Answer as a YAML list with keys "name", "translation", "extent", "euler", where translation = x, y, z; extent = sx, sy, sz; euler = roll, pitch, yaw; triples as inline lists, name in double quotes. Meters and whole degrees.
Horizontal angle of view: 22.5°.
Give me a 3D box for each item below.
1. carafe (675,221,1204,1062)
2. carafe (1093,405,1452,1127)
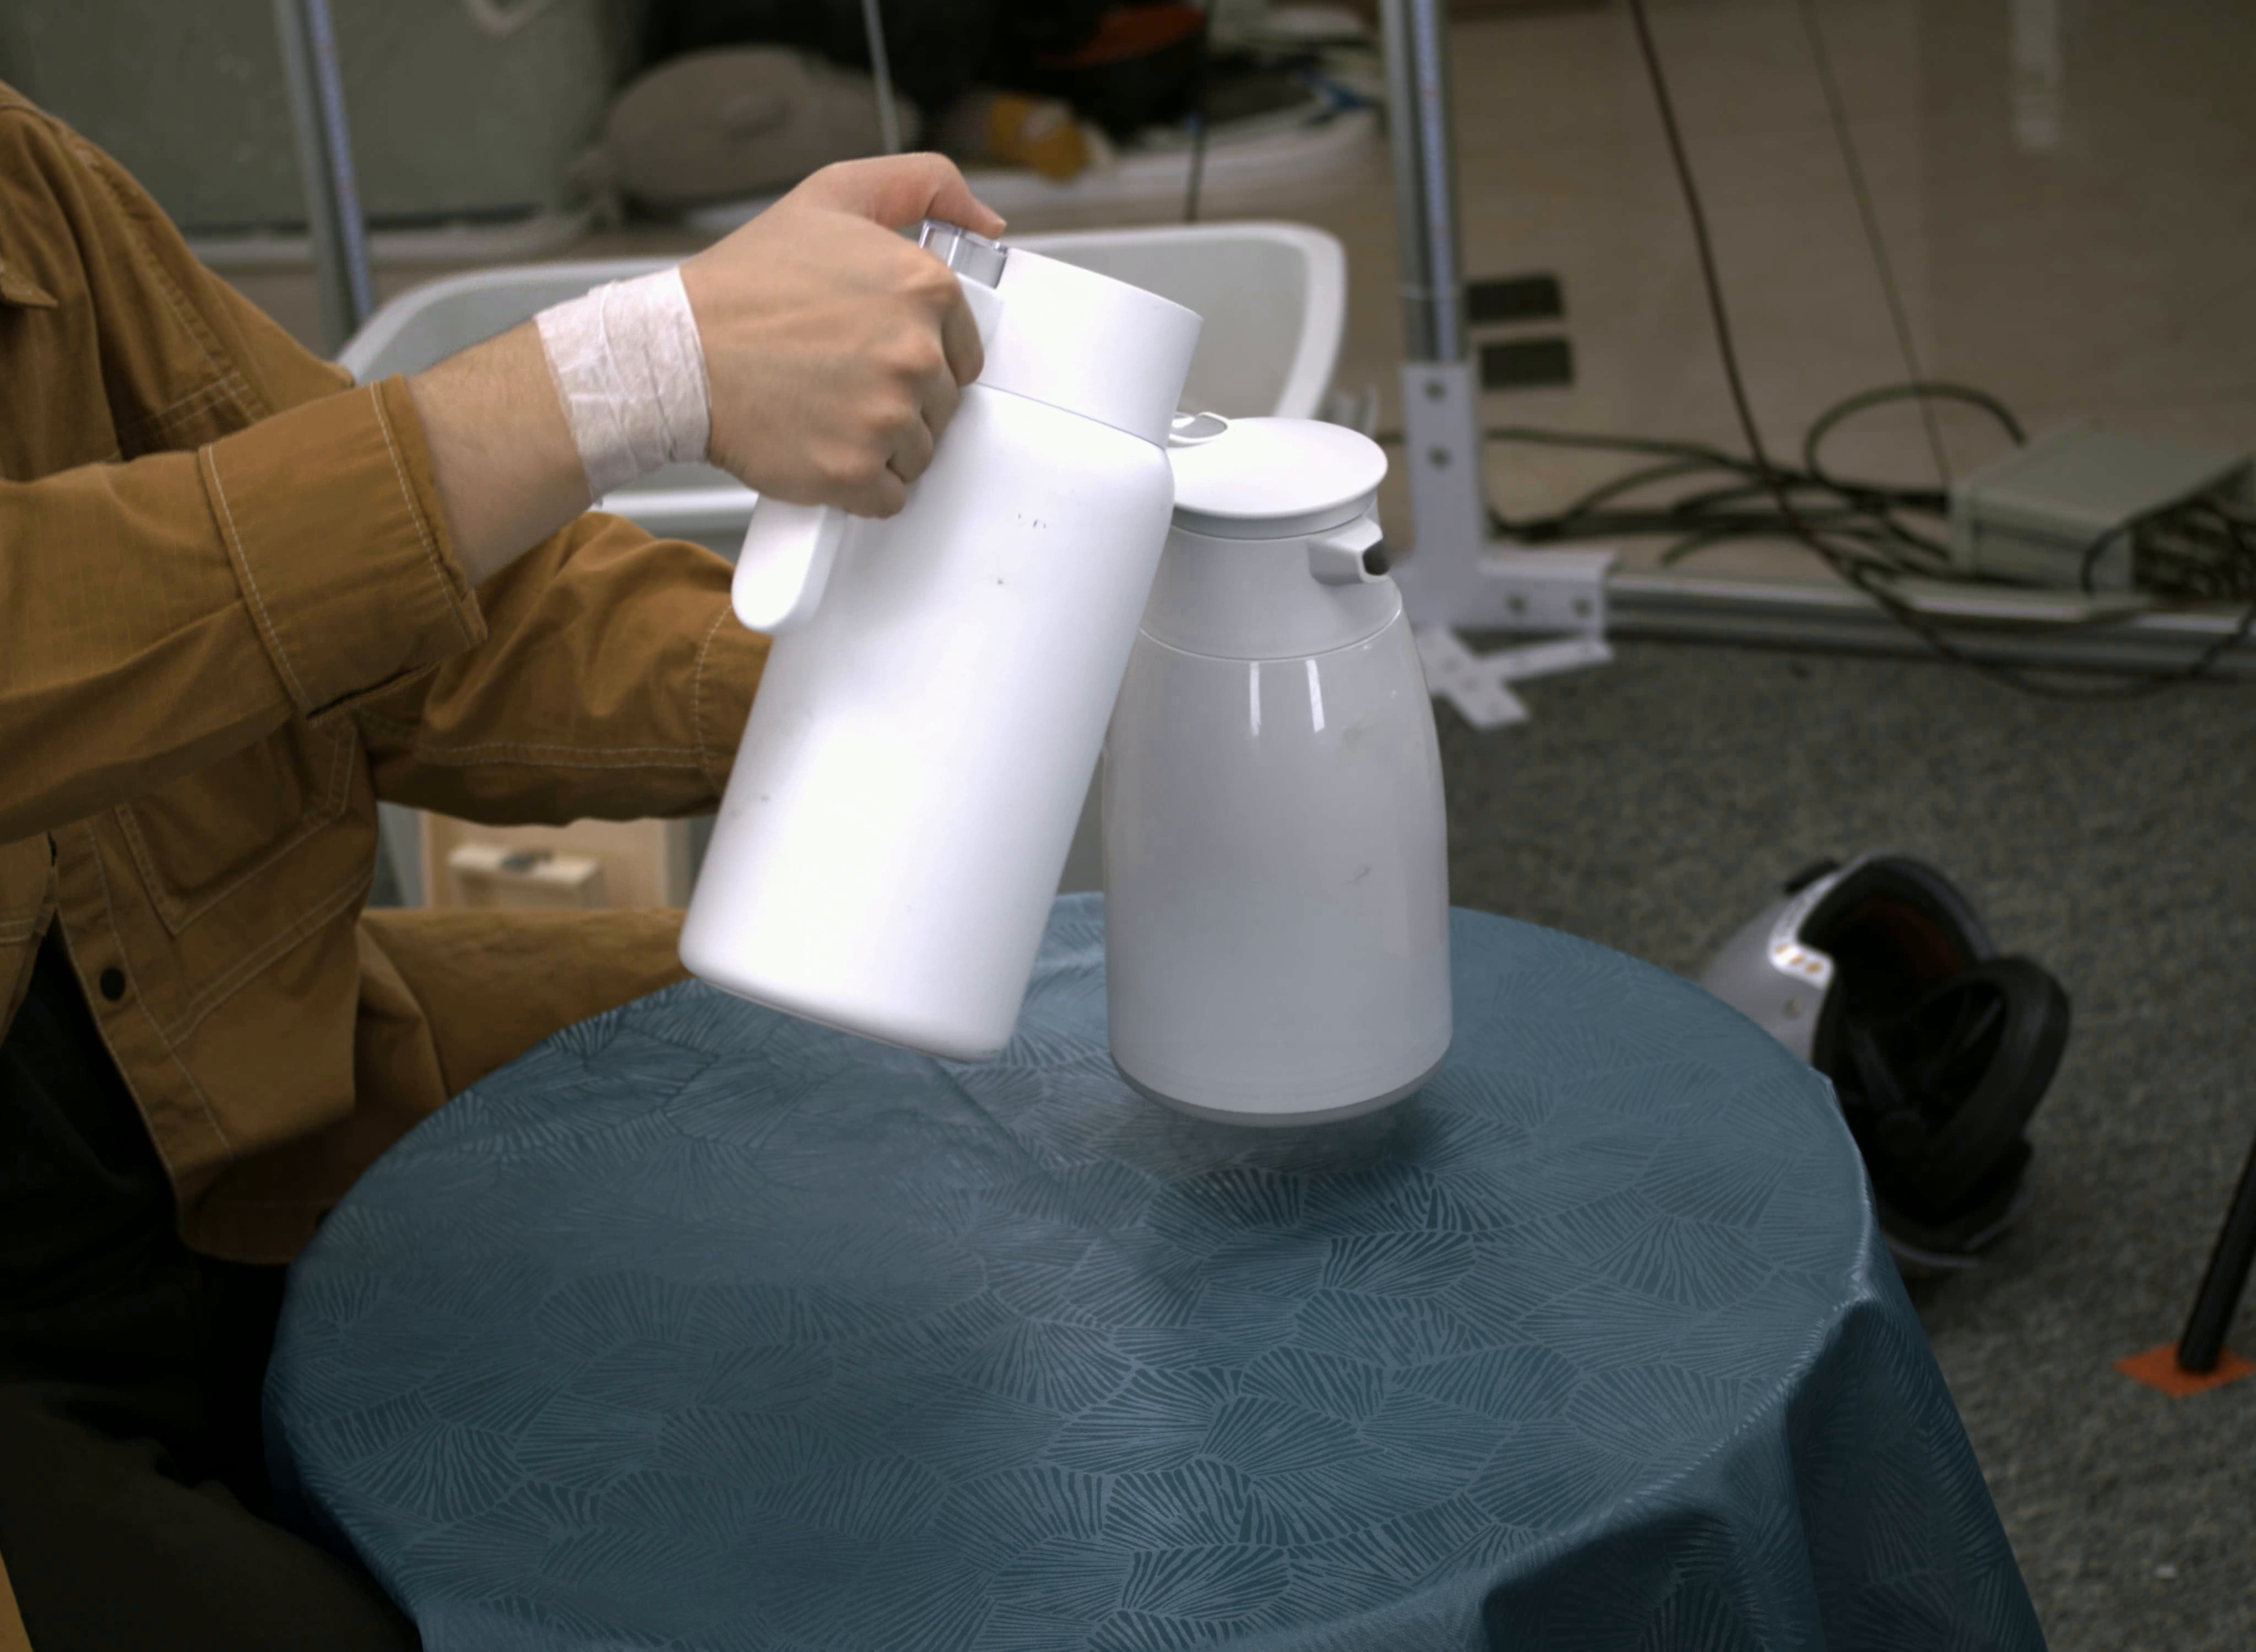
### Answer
- name: "carafe"
  translation: [-0.069, -0.064, 1.902]
  extent: [0.123, 0.269, 0.174]
  euler: [21, 2, 34]
- name: "carafe"
  translation: [0.039, -0.033, 2.119]
  extent: [0.131, 0.253, 0.166]
  euler: [-25, 34, -36]
